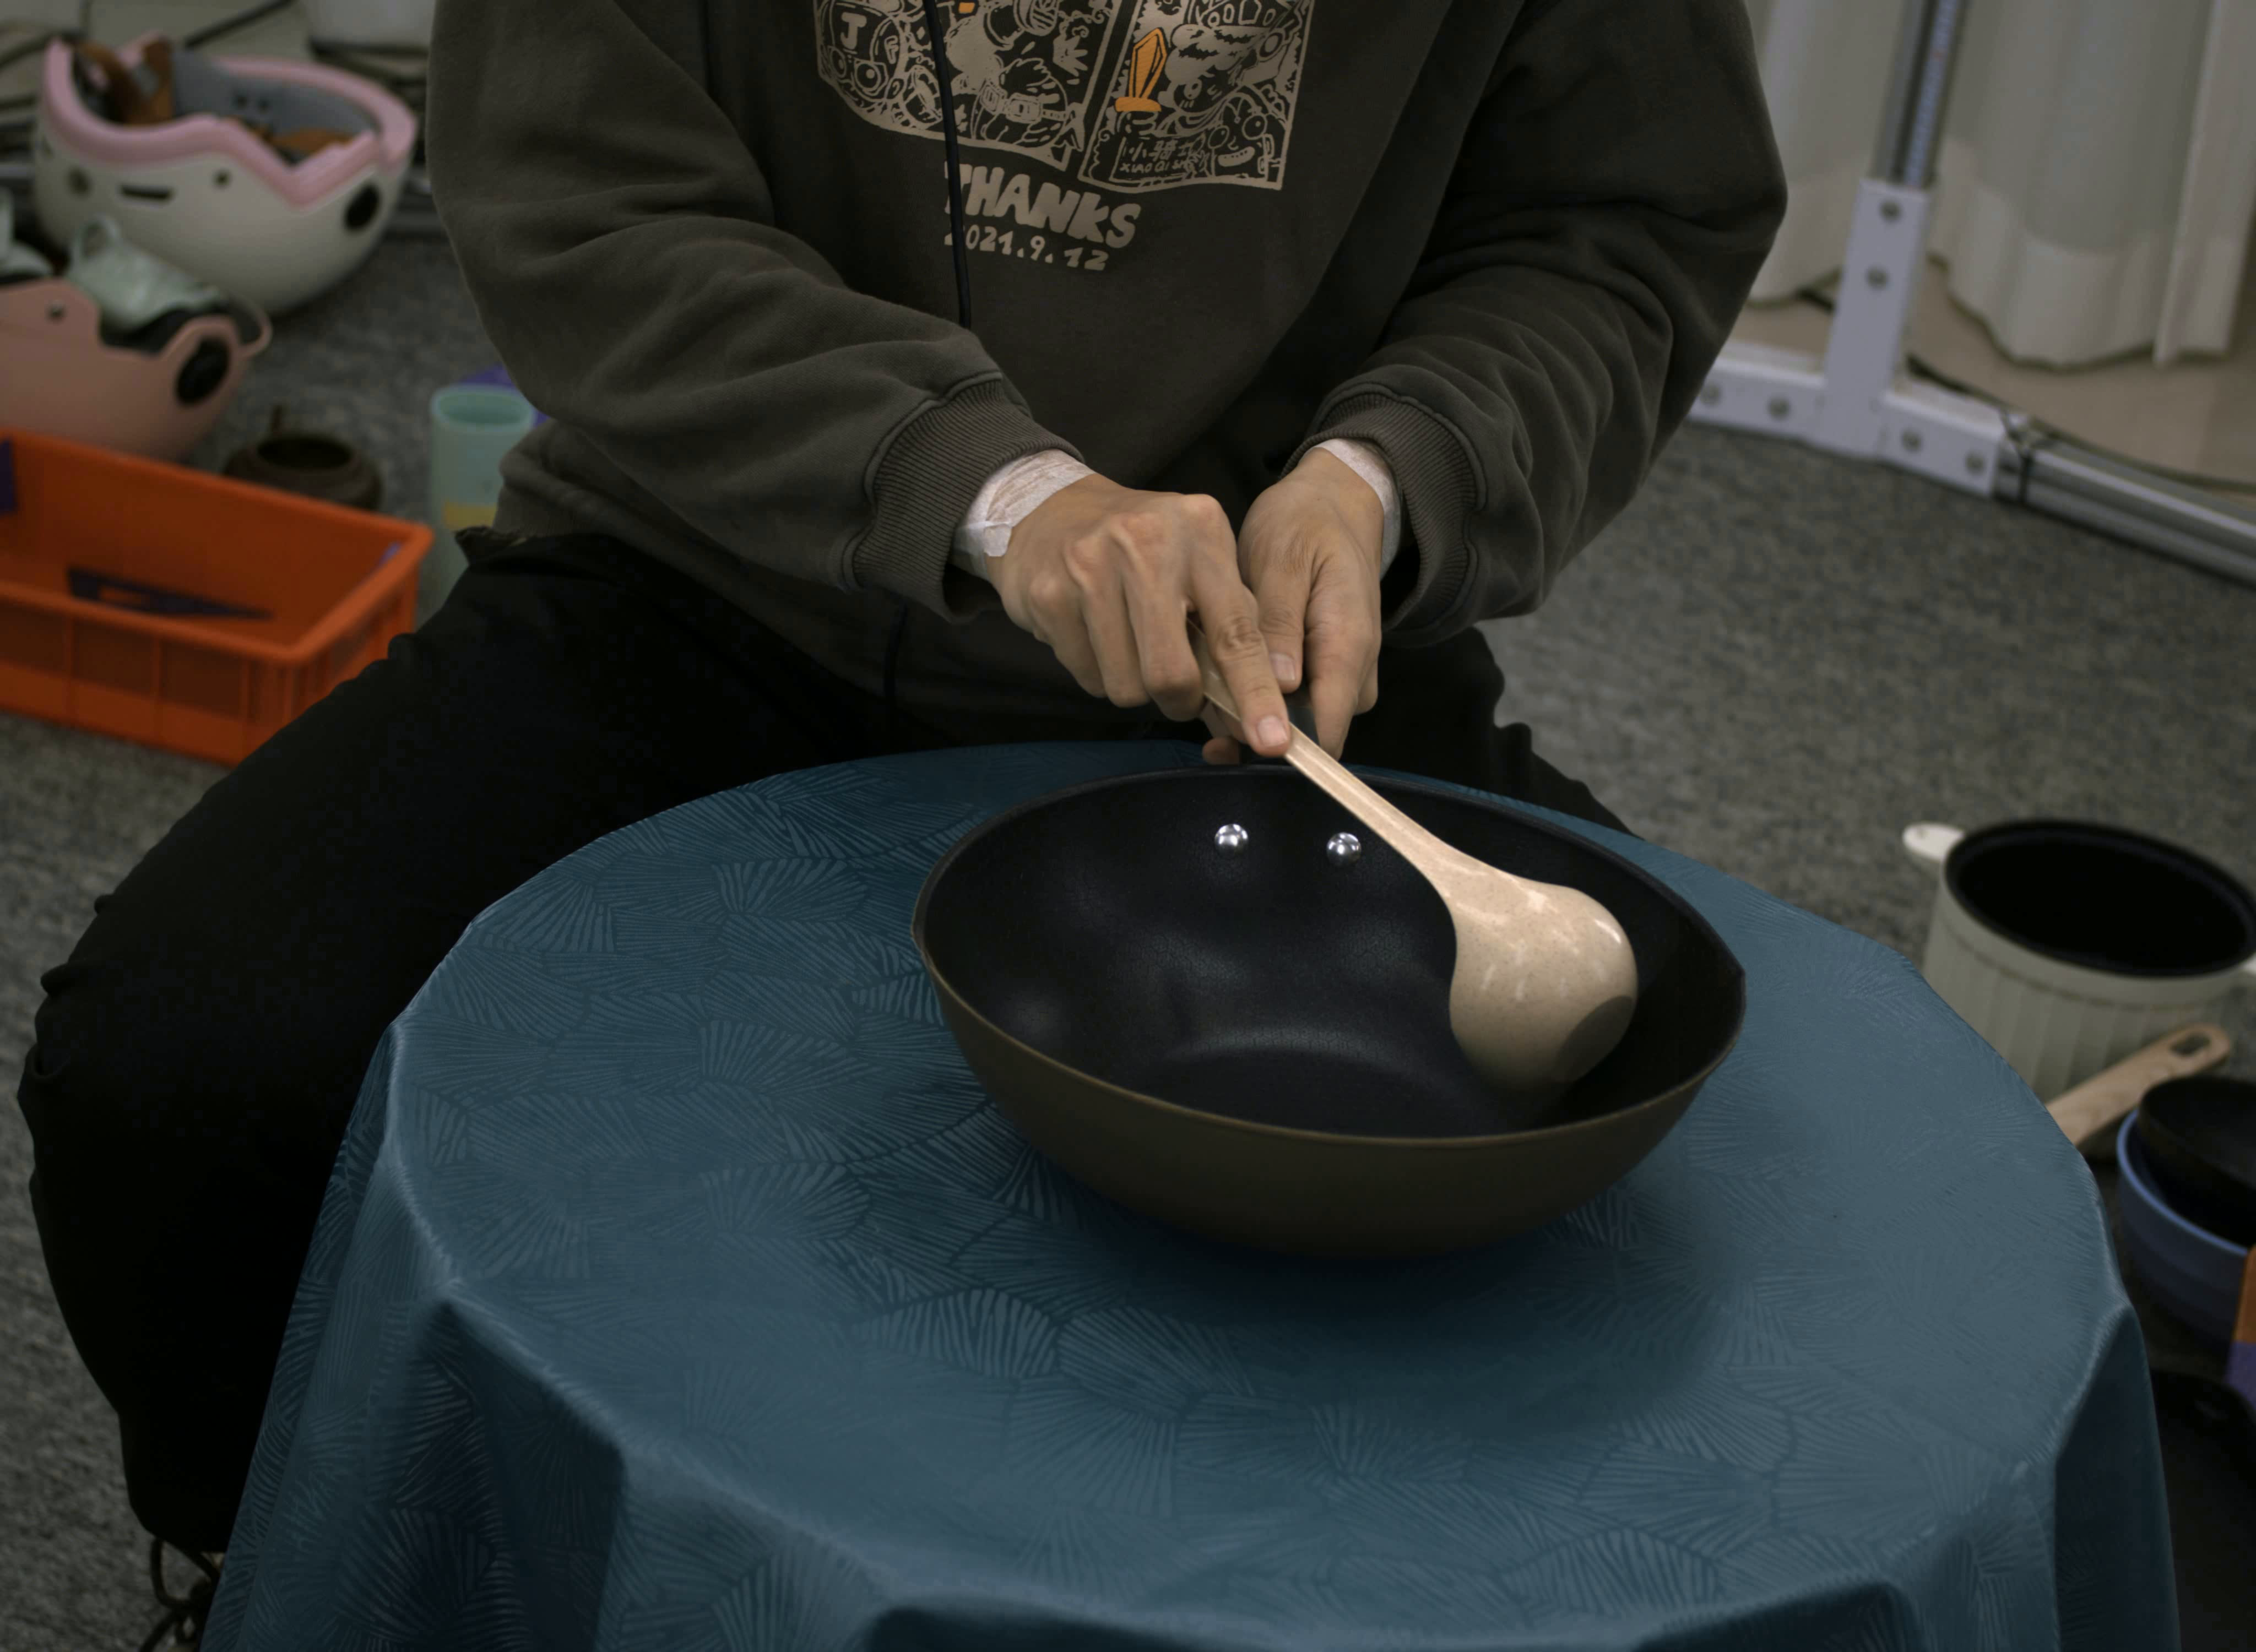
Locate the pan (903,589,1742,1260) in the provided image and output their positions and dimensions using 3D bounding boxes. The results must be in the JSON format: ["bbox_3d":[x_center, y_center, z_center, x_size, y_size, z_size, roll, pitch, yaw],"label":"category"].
[{"bbox_3d":[0.057,0.036,1.902,0.287,0.086,0.466,4,24,-6],"label":"pan"}]

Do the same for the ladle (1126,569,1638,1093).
[{"bbox_3d":[0.084,0.001,1.904,0.072,0.072,0.256,-37,54,-13],"label":"ladle"}]
